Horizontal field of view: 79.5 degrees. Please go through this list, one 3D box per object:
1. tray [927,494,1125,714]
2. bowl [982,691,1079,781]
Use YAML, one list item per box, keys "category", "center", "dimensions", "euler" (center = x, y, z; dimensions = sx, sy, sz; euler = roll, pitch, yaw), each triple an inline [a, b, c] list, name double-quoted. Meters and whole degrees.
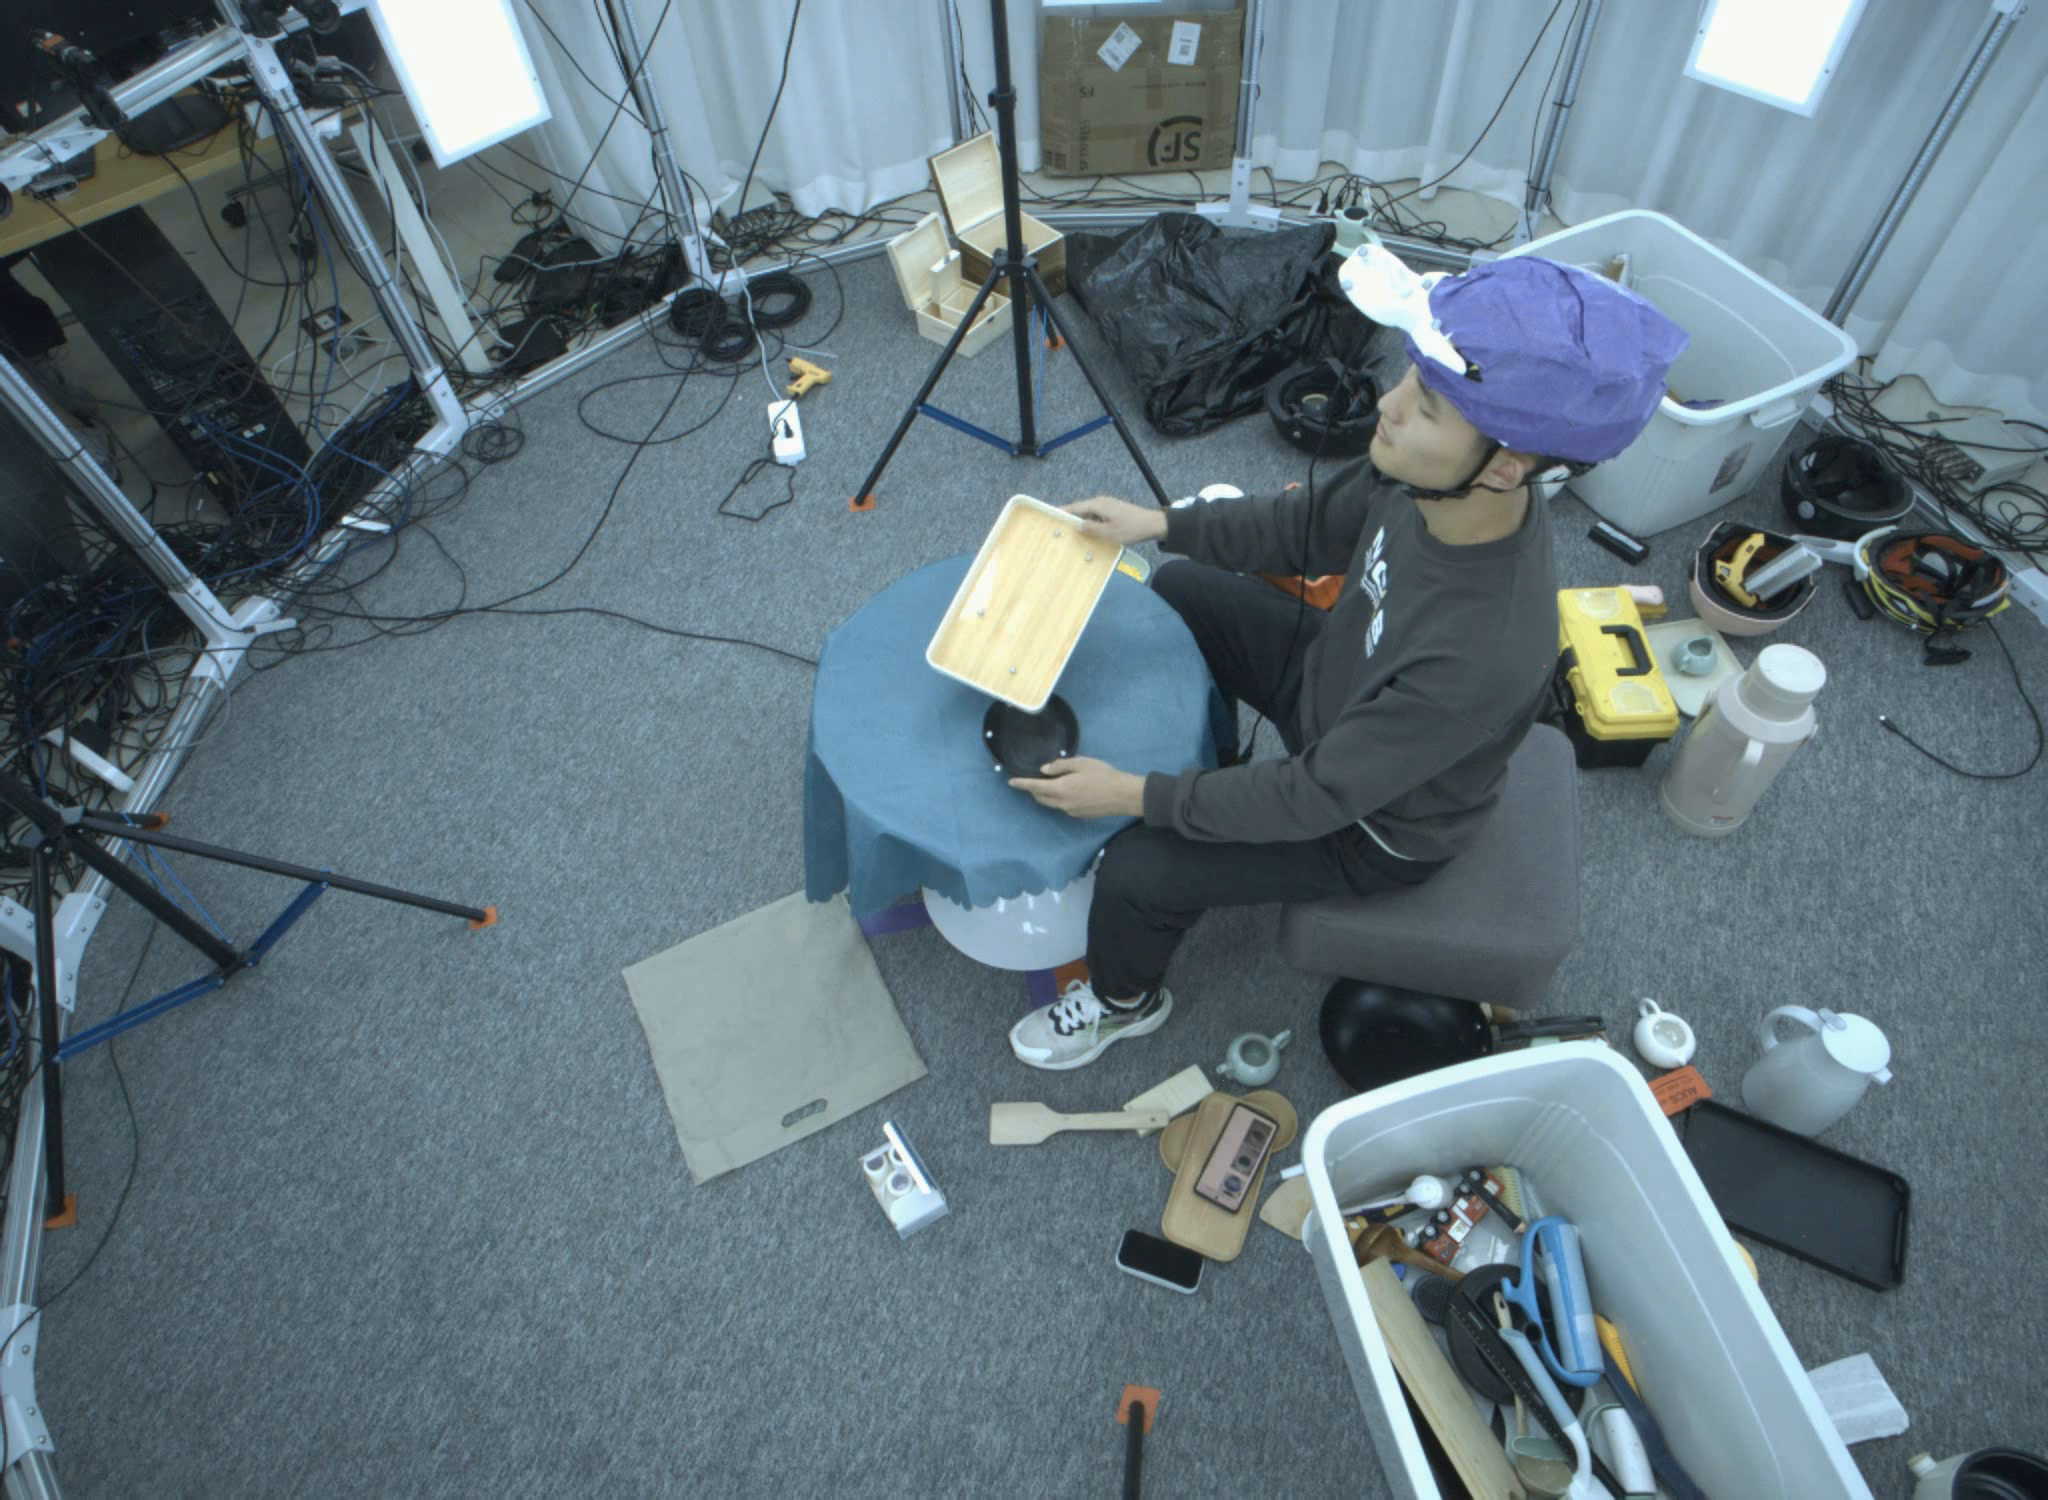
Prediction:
- category: "tray"
  center: [0.004, -0.216, 1.794]
  dimensions: [0.190, 0.027, 0.300]
  euler: [25, 78, 8]
- category: "bowl"
  center: [0.010, -0.013, 1.756]
  dimensions: [0.138, 0.067, 0.167]
  euler: [-9, 50, -5]
